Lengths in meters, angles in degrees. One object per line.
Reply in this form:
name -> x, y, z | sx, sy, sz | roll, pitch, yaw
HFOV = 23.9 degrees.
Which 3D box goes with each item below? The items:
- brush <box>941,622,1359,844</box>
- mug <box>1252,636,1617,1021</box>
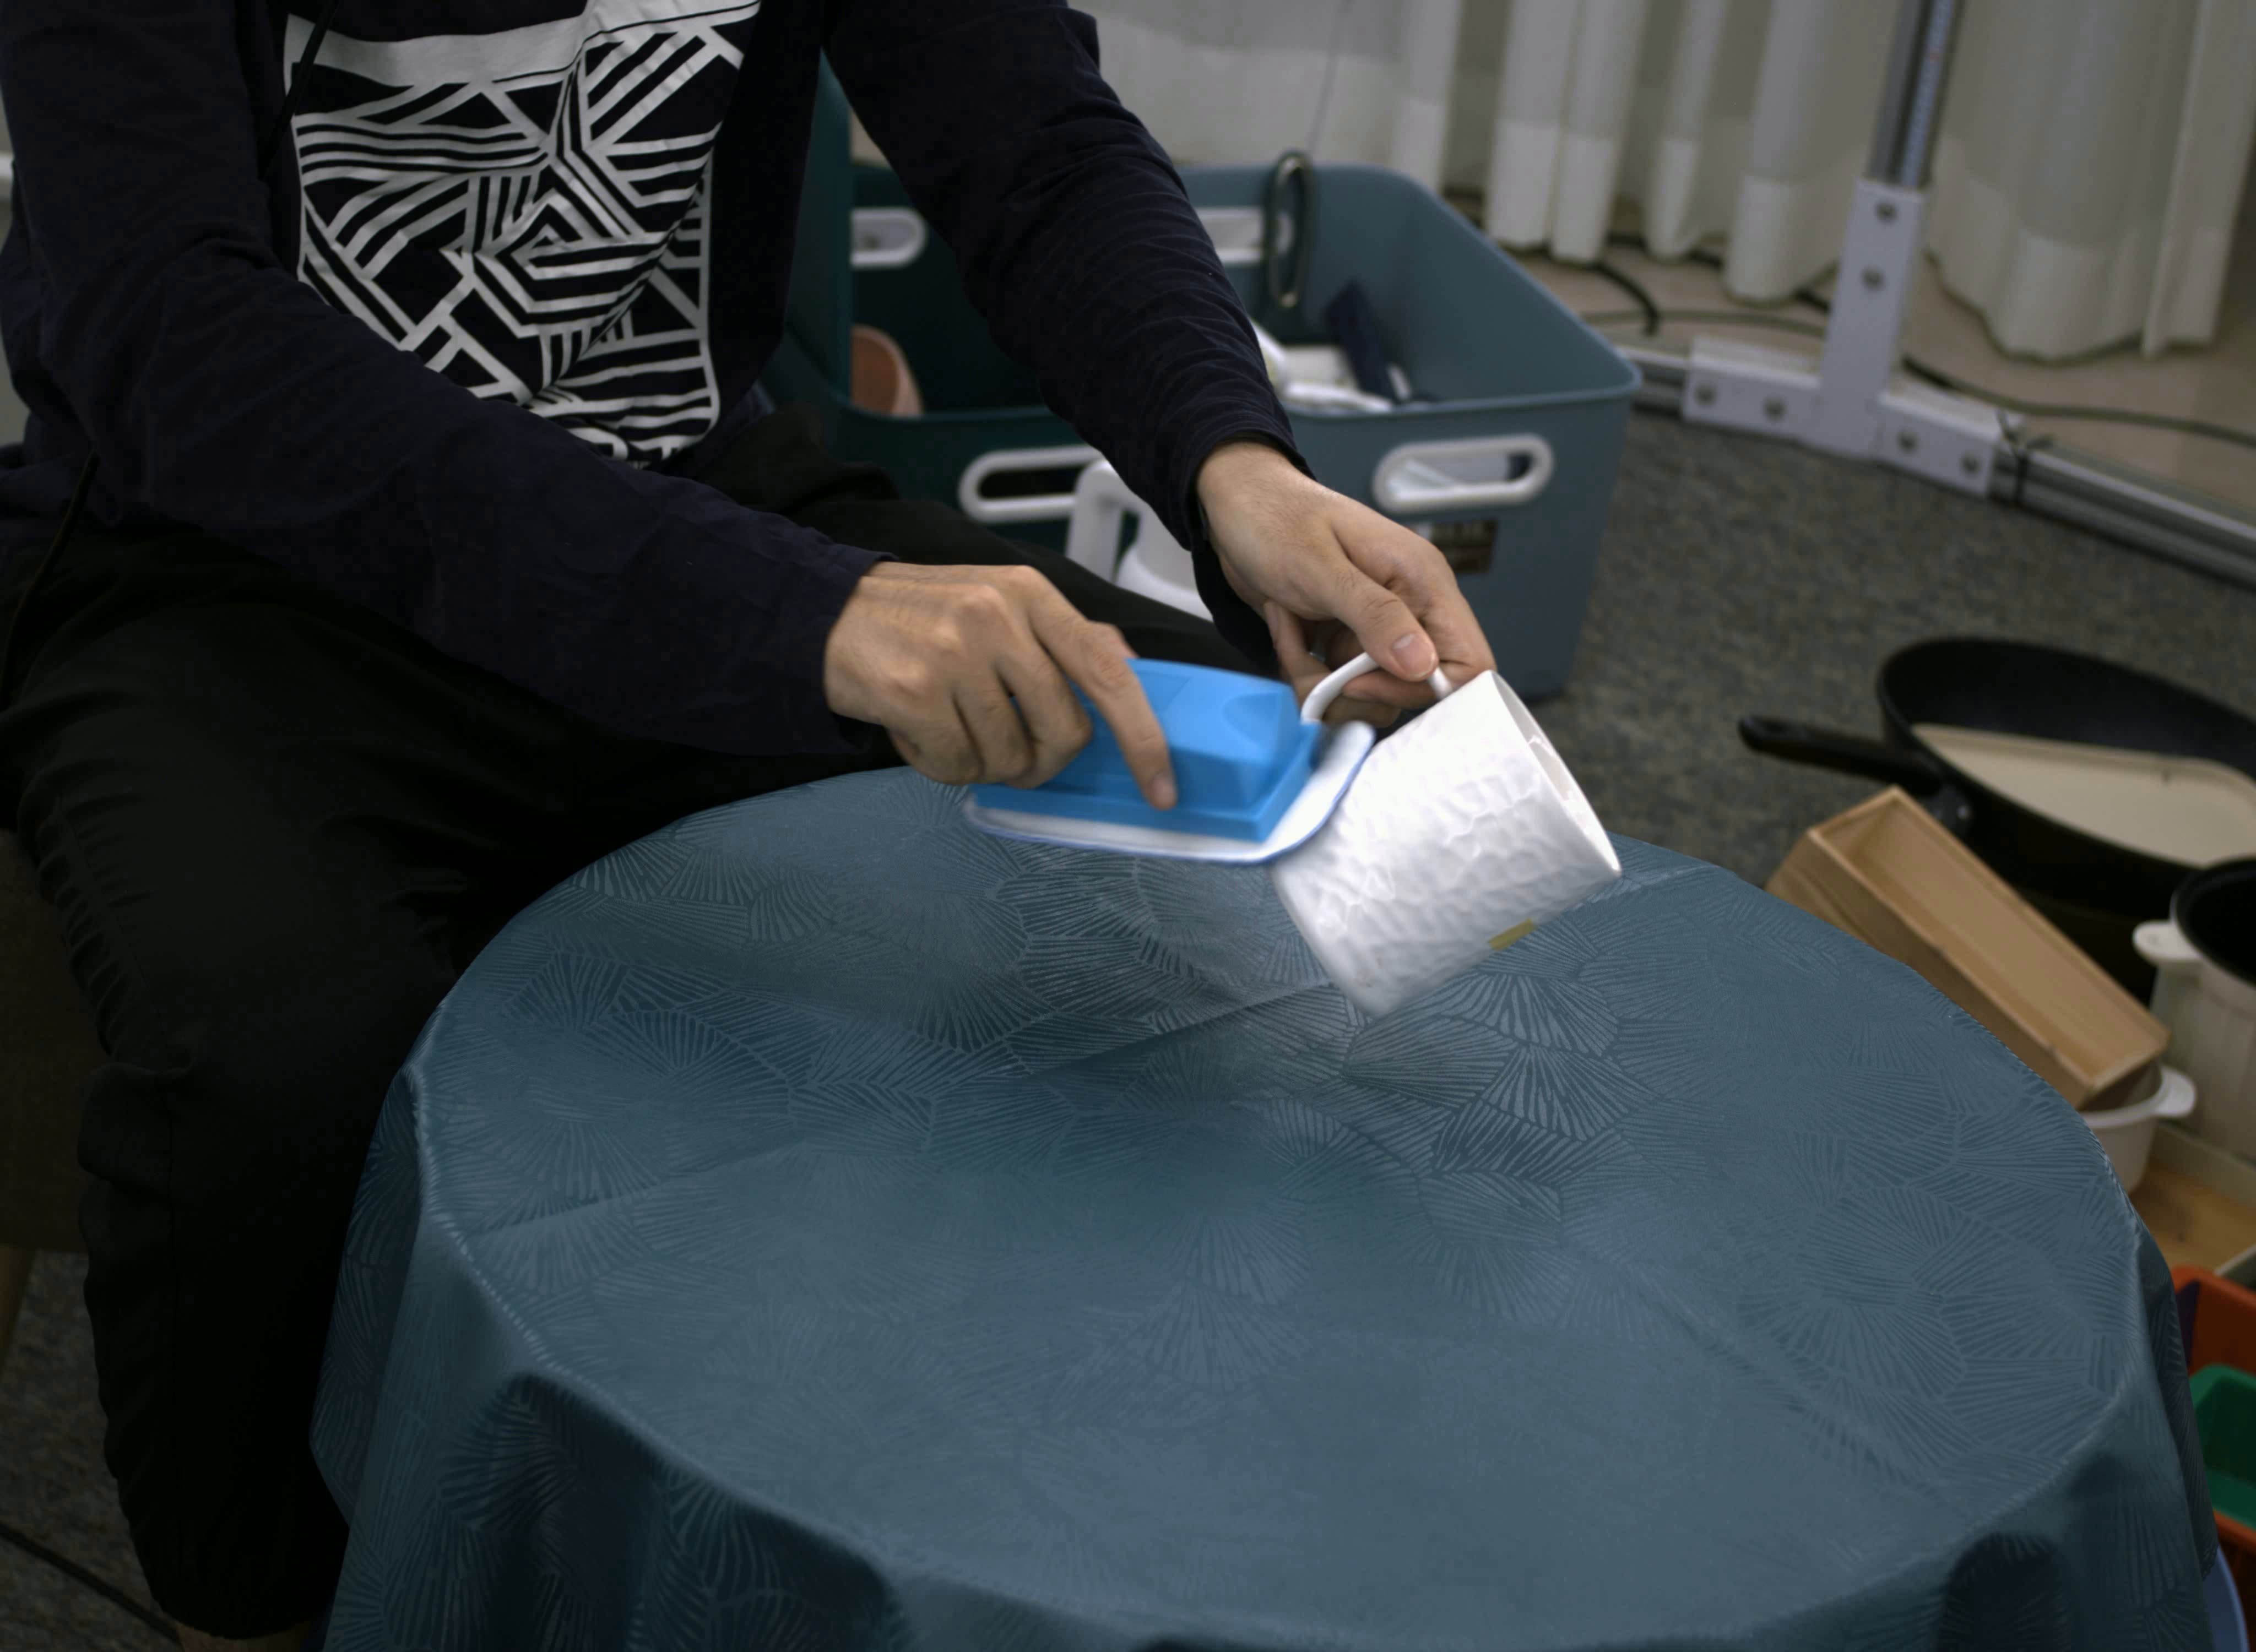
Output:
brush -> 0.005, -0.035, 1.866 | 0.145, 0.055, 0.084 | 10, 41, 34
mug -> 0.098, -0.005, 1.868 | 0.119, 0.102, 0.084 | 60, 10, 19
